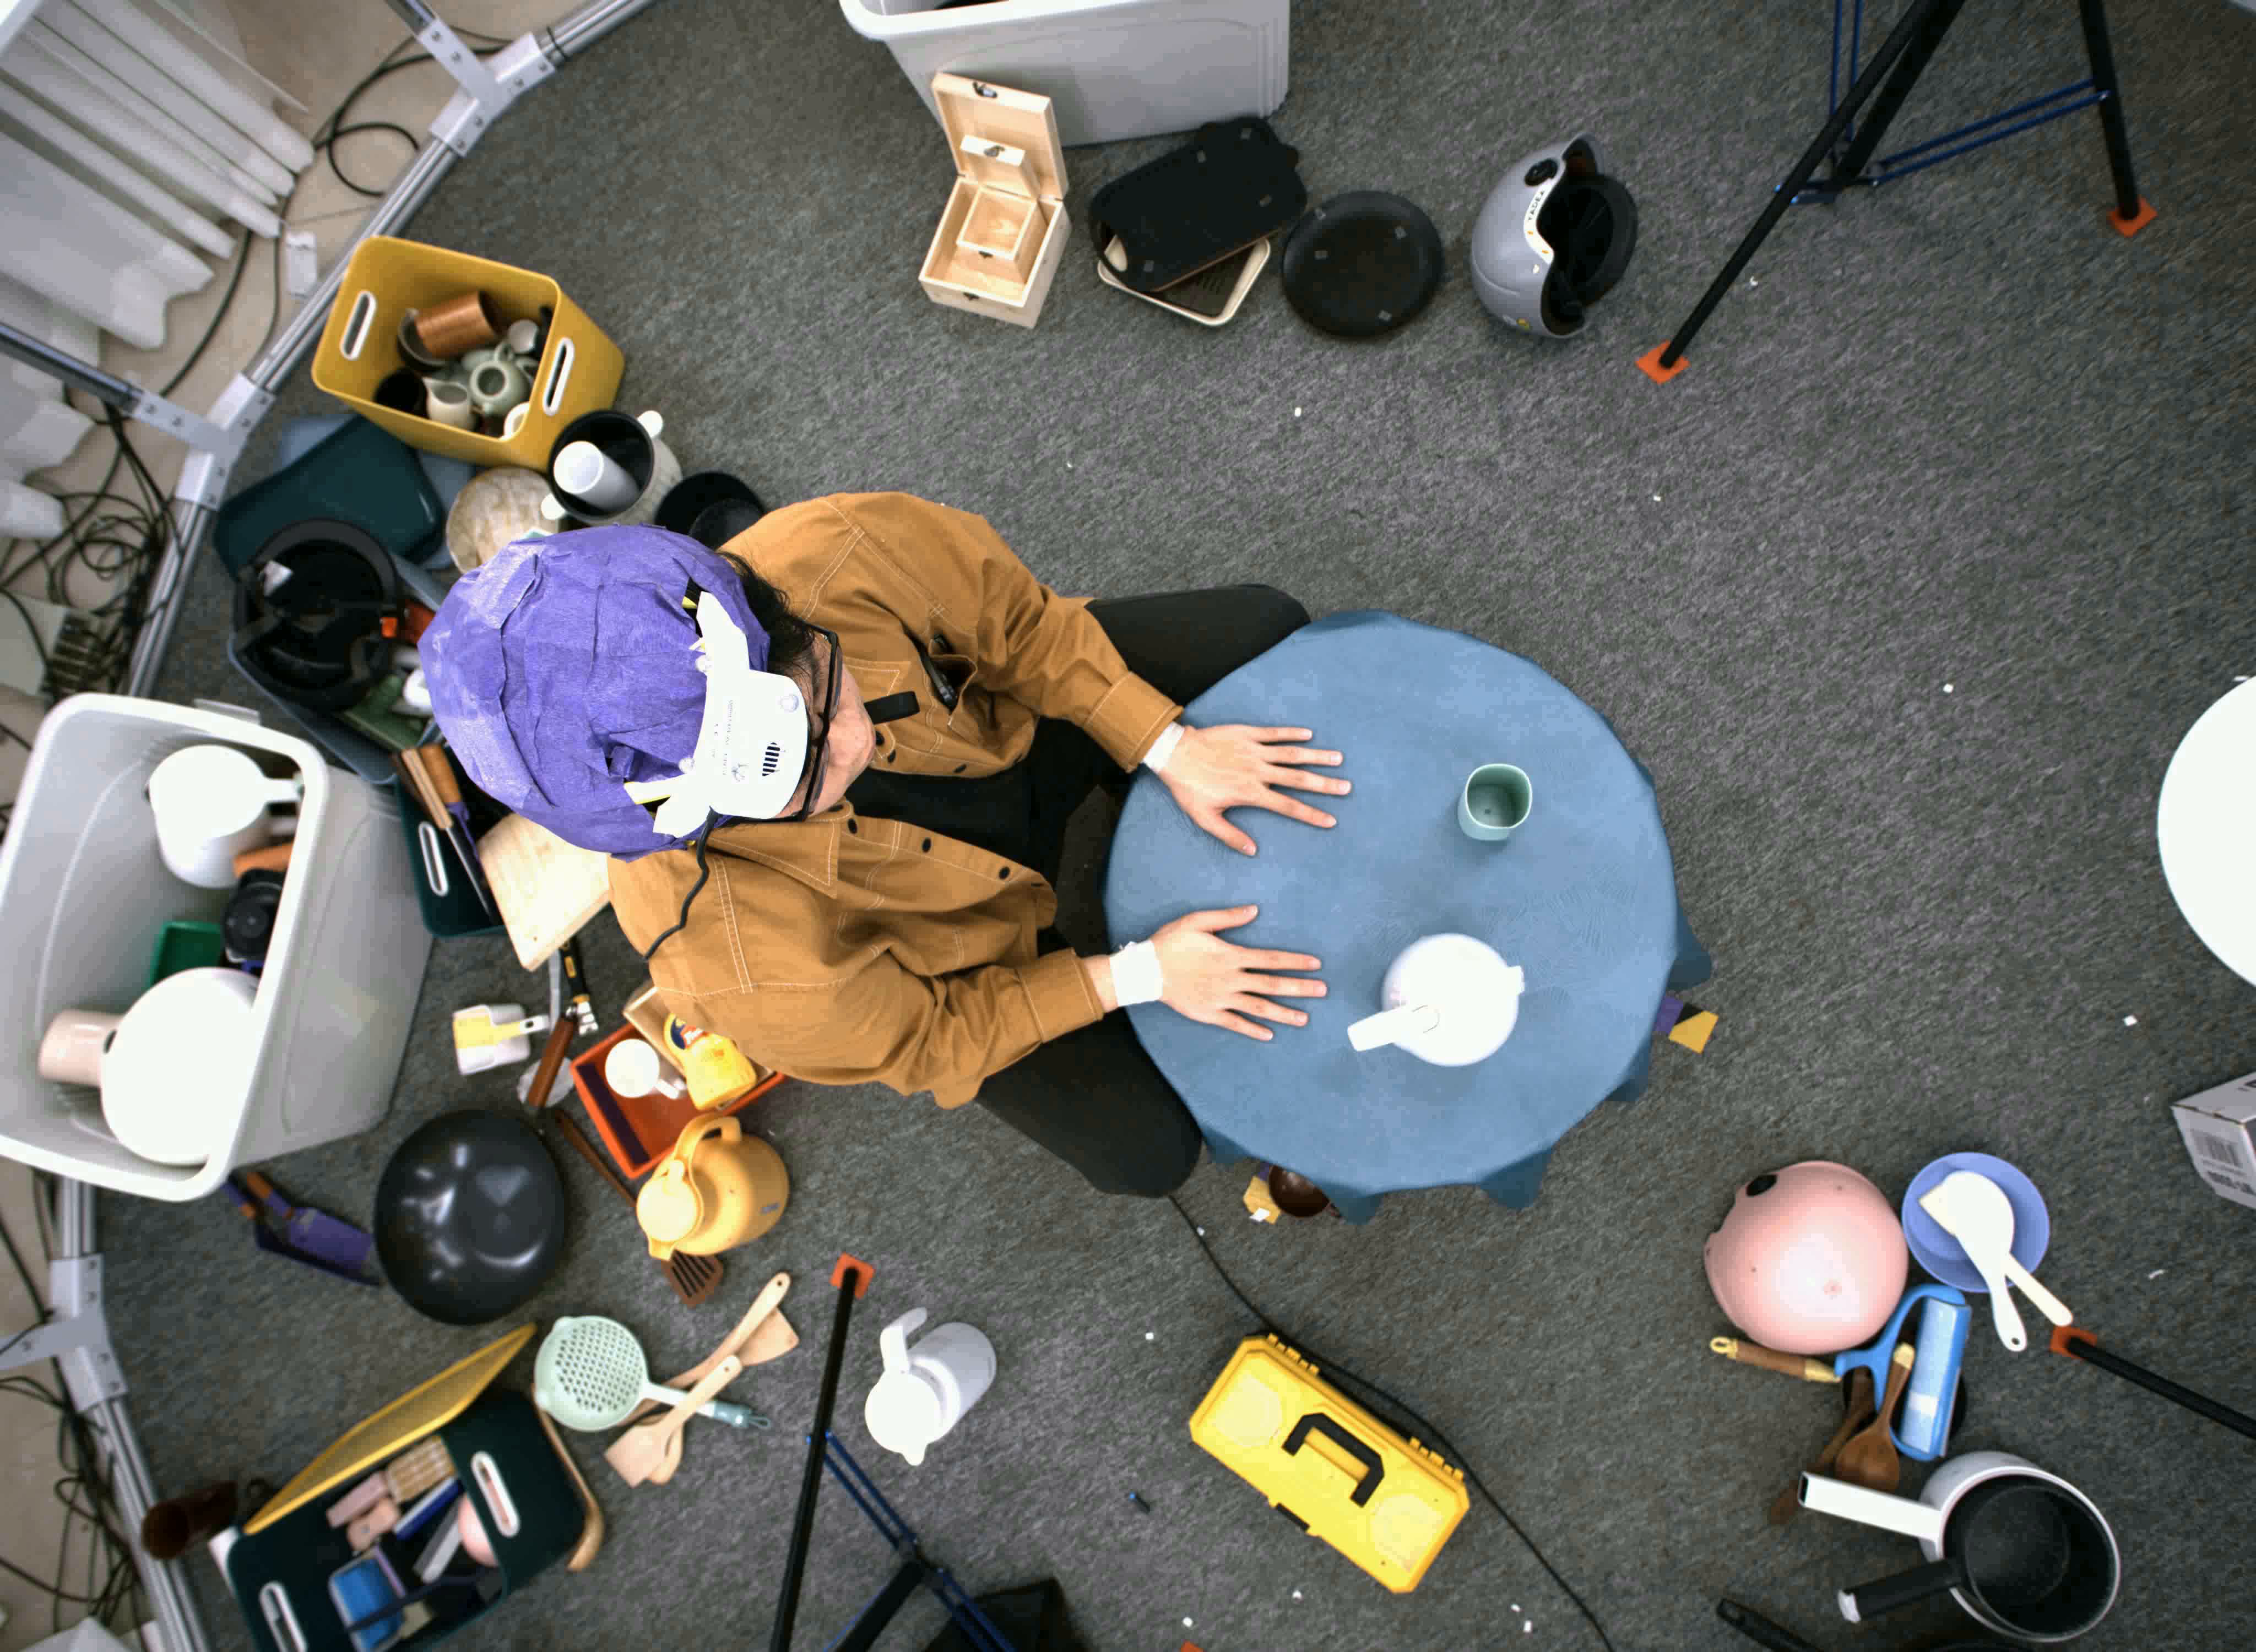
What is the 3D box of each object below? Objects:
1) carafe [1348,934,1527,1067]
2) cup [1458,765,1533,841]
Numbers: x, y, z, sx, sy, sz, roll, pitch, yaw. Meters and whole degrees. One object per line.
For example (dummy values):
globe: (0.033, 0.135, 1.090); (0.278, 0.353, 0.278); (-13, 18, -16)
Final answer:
carafe: (0.293, 0.175, 1.326); (0.169, 0.249, 0.131); (-23, 81, 8)
cup: (0.367, -0.024, 1.384); (0.067, 0.132, 0.066); (-1, 85, 10)
